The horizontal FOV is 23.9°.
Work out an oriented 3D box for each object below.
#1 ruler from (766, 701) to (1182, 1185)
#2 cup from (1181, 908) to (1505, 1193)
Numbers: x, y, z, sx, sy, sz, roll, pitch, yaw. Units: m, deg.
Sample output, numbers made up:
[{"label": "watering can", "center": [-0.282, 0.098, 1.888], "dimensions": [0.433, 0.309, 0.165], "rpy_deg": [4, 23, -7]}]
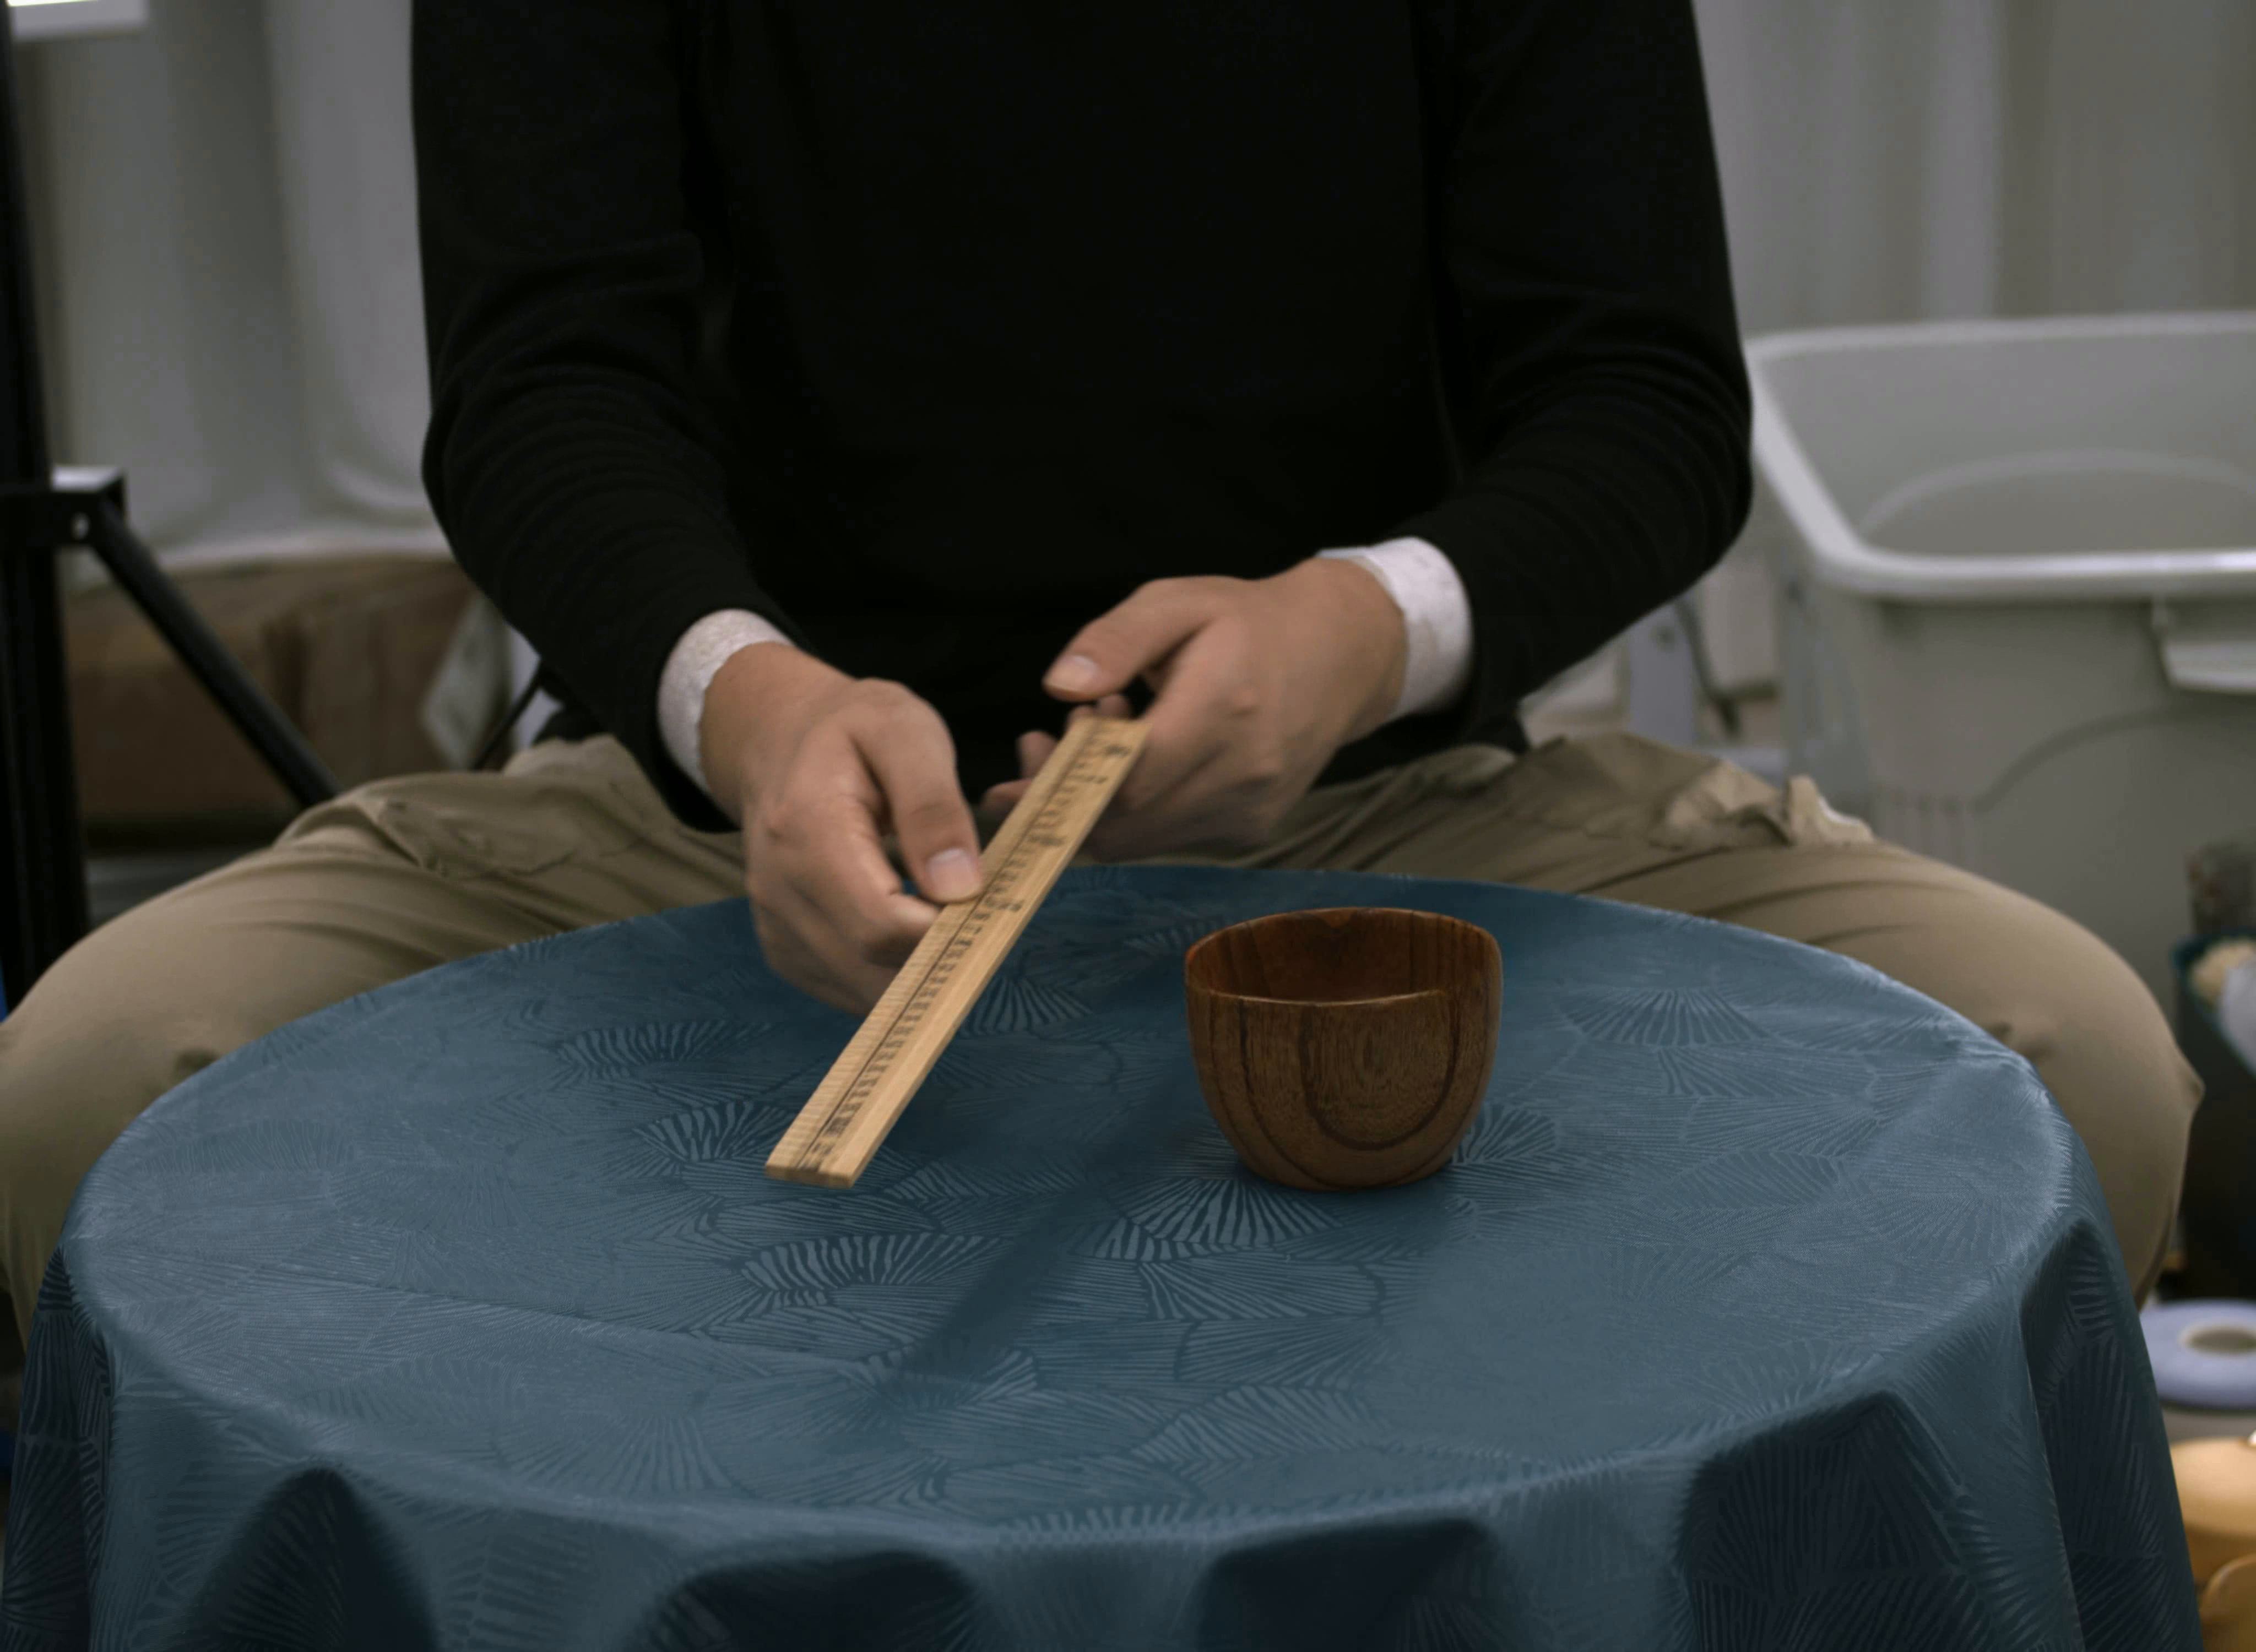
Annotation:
[{"label": "ruler", "center": [-0.040, 0.026, 1.558], "dimensions": [0.027, 0.022, 0.329], "rpy_deg": [11, 25, 13]}, {"label": "cup", "center": [0.065, 0.065, 1.580], "dimensions": [0.096, 0.068, 0.120], "rpy_deg": [-4, 14, 1]}]
